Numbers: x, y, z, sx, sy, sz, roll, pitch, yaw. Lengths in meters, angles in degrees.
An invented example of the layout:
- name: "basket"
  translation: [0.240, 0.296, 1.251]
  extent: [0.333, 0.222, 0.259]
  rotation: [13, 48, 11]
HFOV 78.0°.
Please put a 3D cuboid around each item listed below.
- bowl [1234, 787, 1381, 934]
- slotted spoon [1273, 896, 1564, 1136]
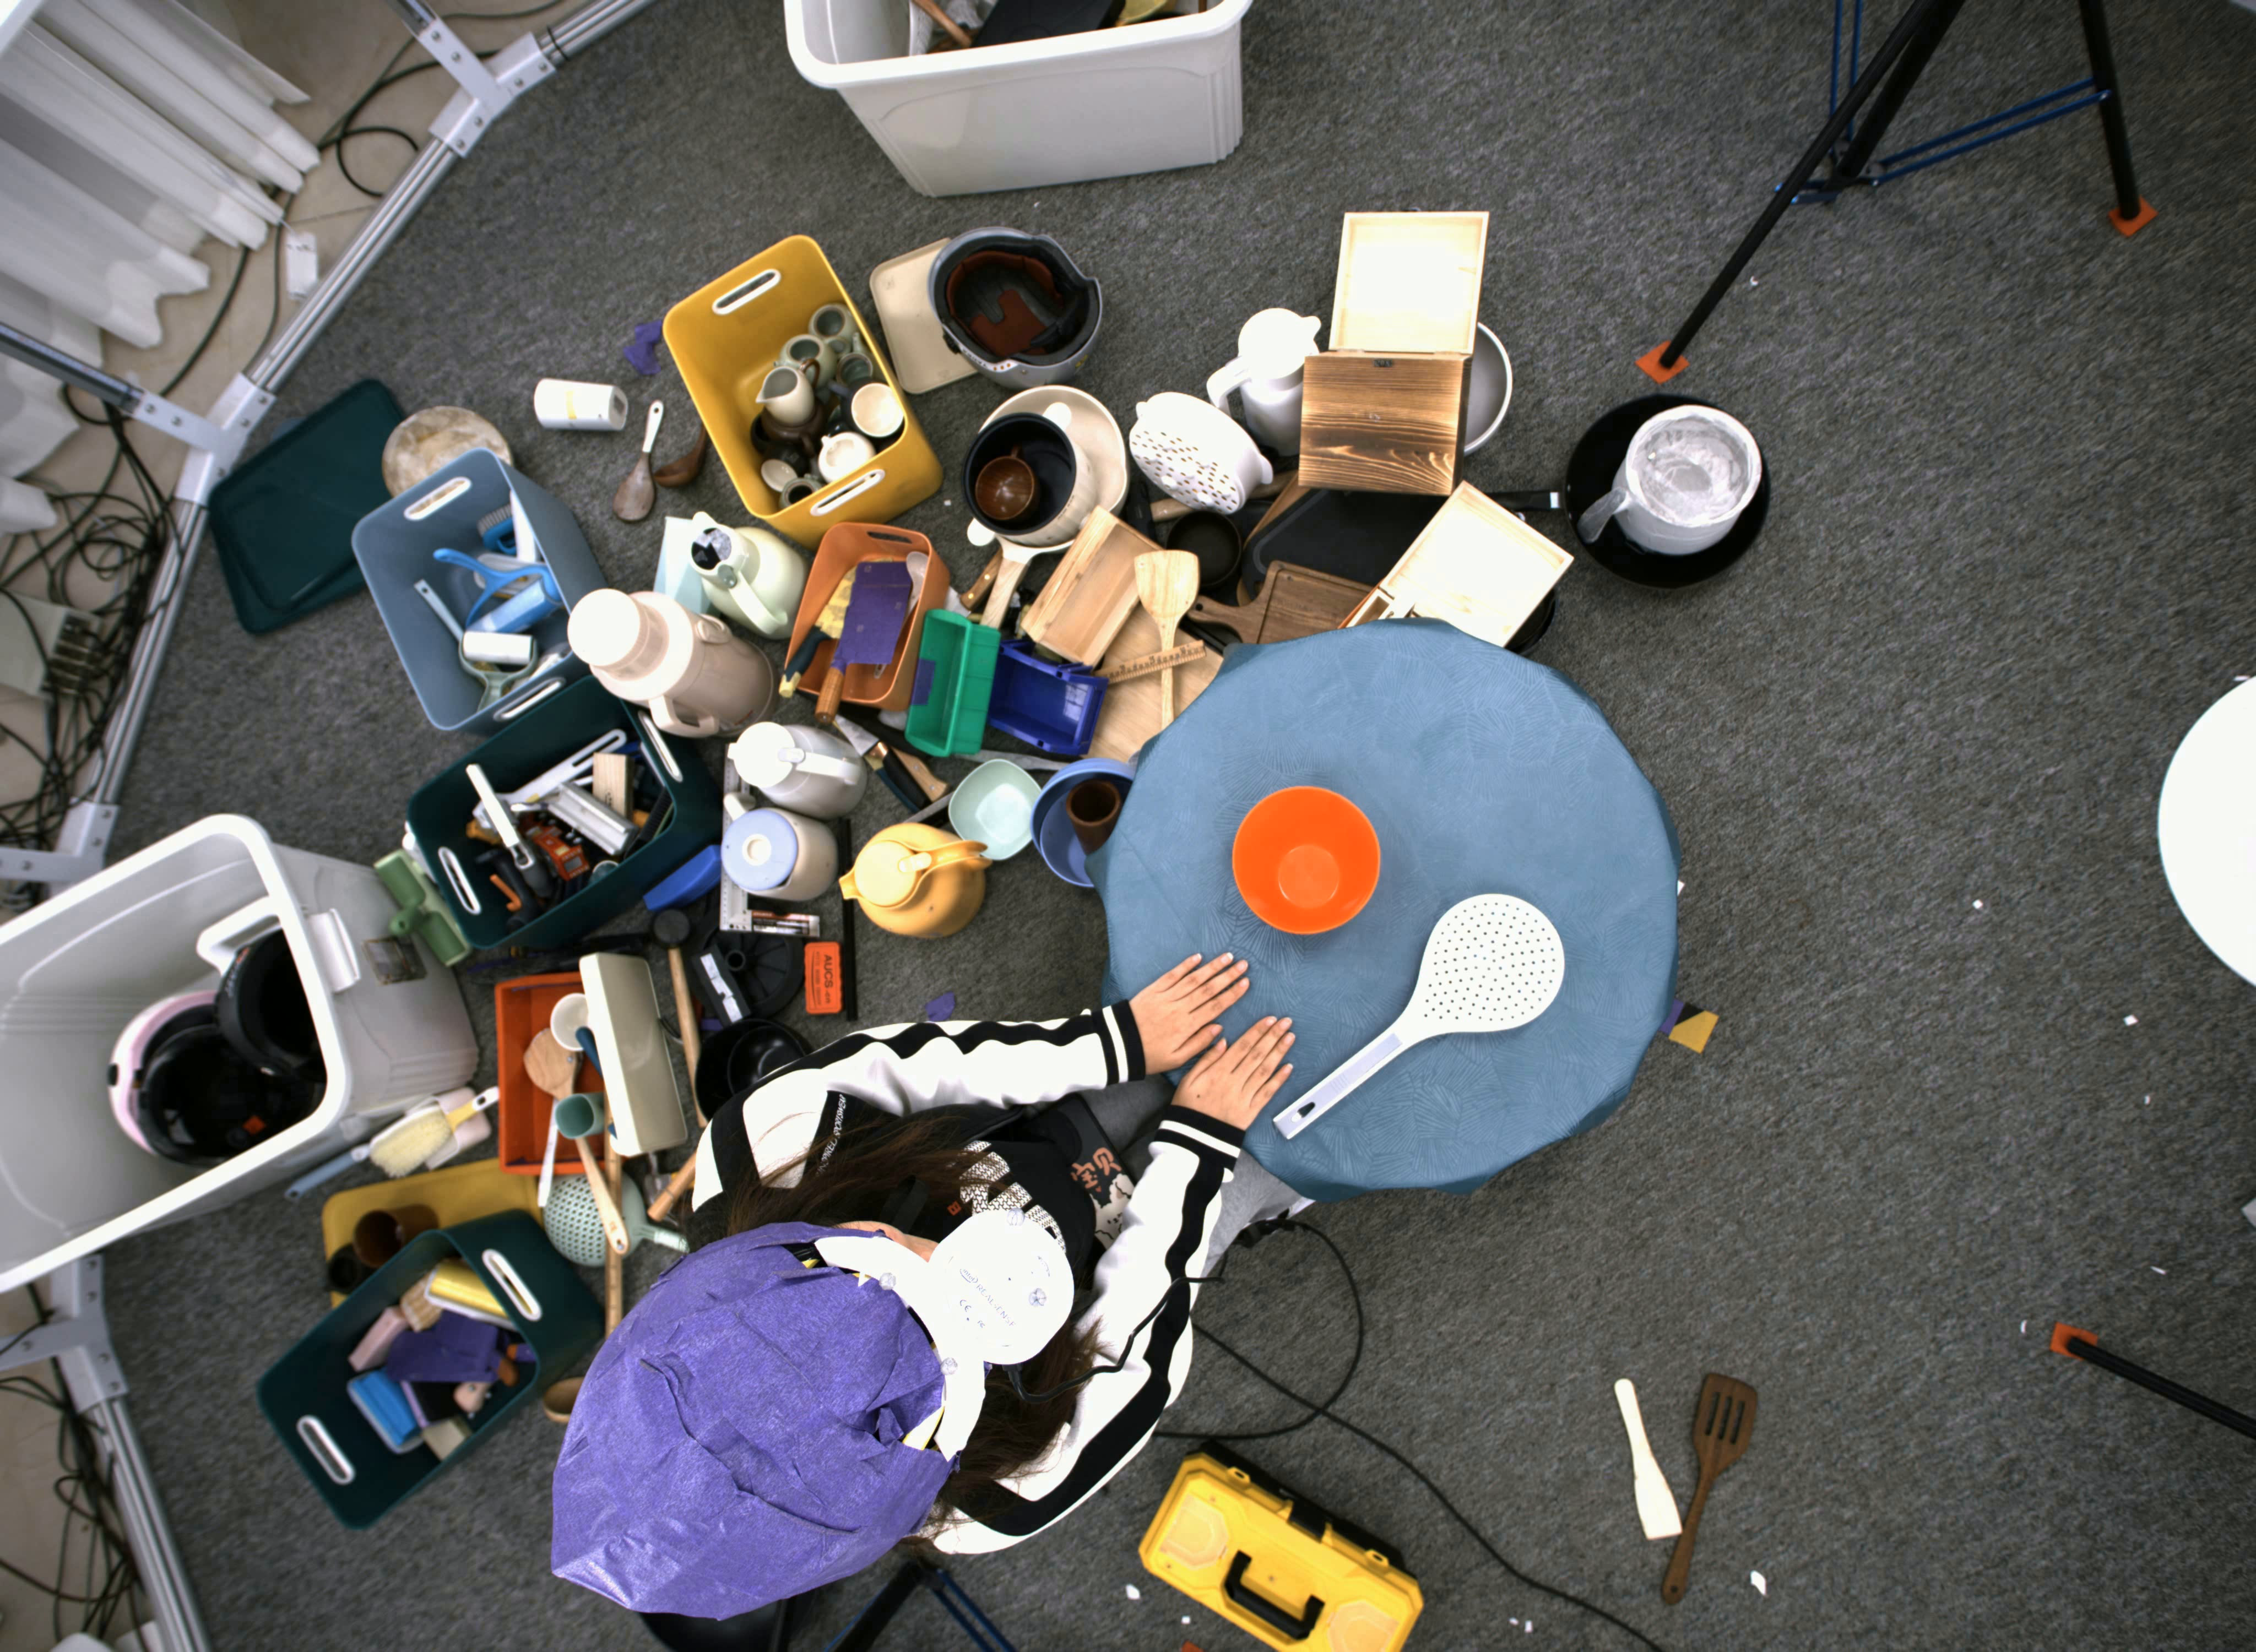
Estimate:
- name: "bowl"
  translation: [0.185, 0.037, 1.427]
  extent: [0.148, 0.104, 0.147]
  rotation: [-1, 87, 9]
- name: "slotted spoon"
  translation: [0.292, 0.206, 1.426]
  extent: [0.351, 0.046, 0.135]
  rotation: [-39, 79, 7]
